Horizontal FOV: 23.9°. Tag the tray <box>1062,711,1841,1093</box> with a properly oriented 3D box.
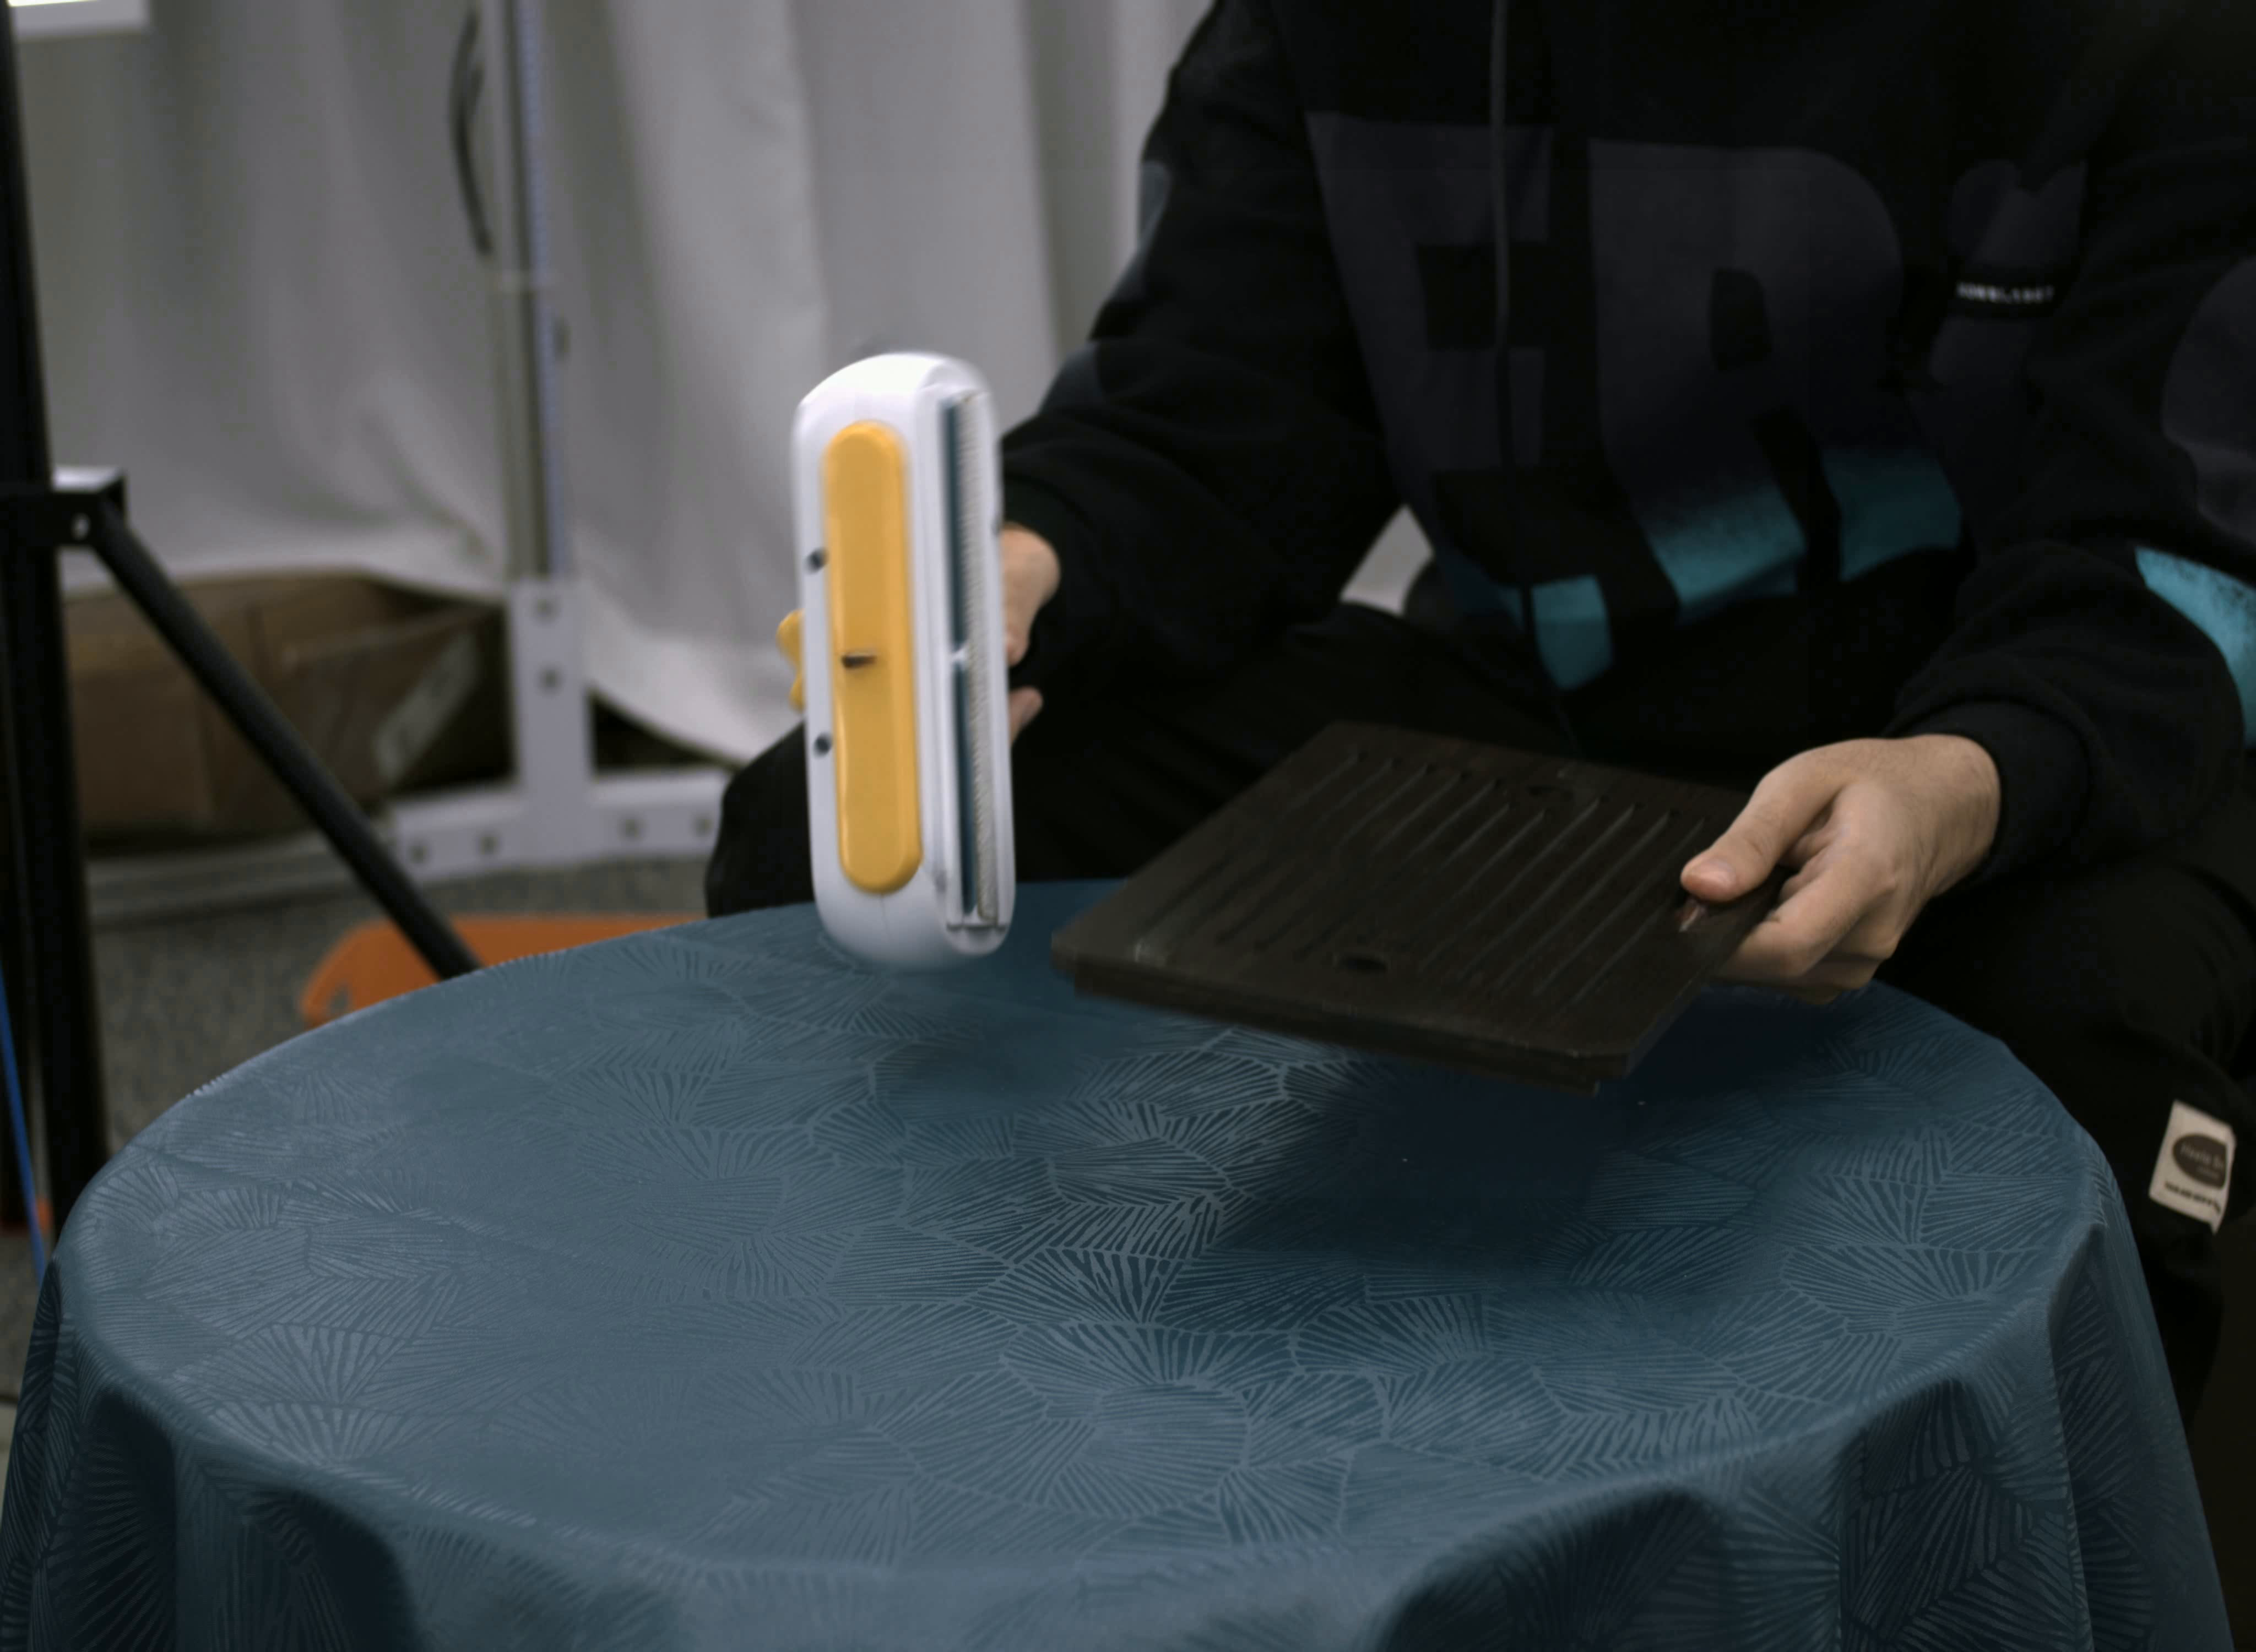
[{"bbox_3d":[0.105,0.020,1.597,0.172,0.018,0.302,12,16,17],"label":"tray"}]

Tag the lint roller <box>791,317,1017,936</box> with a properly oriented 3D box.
[{"bbox_3d":[-0.058,-0.057,1.731,0.075,0.194,0.189,-5,-7,14],"label":"lint roller"}]
